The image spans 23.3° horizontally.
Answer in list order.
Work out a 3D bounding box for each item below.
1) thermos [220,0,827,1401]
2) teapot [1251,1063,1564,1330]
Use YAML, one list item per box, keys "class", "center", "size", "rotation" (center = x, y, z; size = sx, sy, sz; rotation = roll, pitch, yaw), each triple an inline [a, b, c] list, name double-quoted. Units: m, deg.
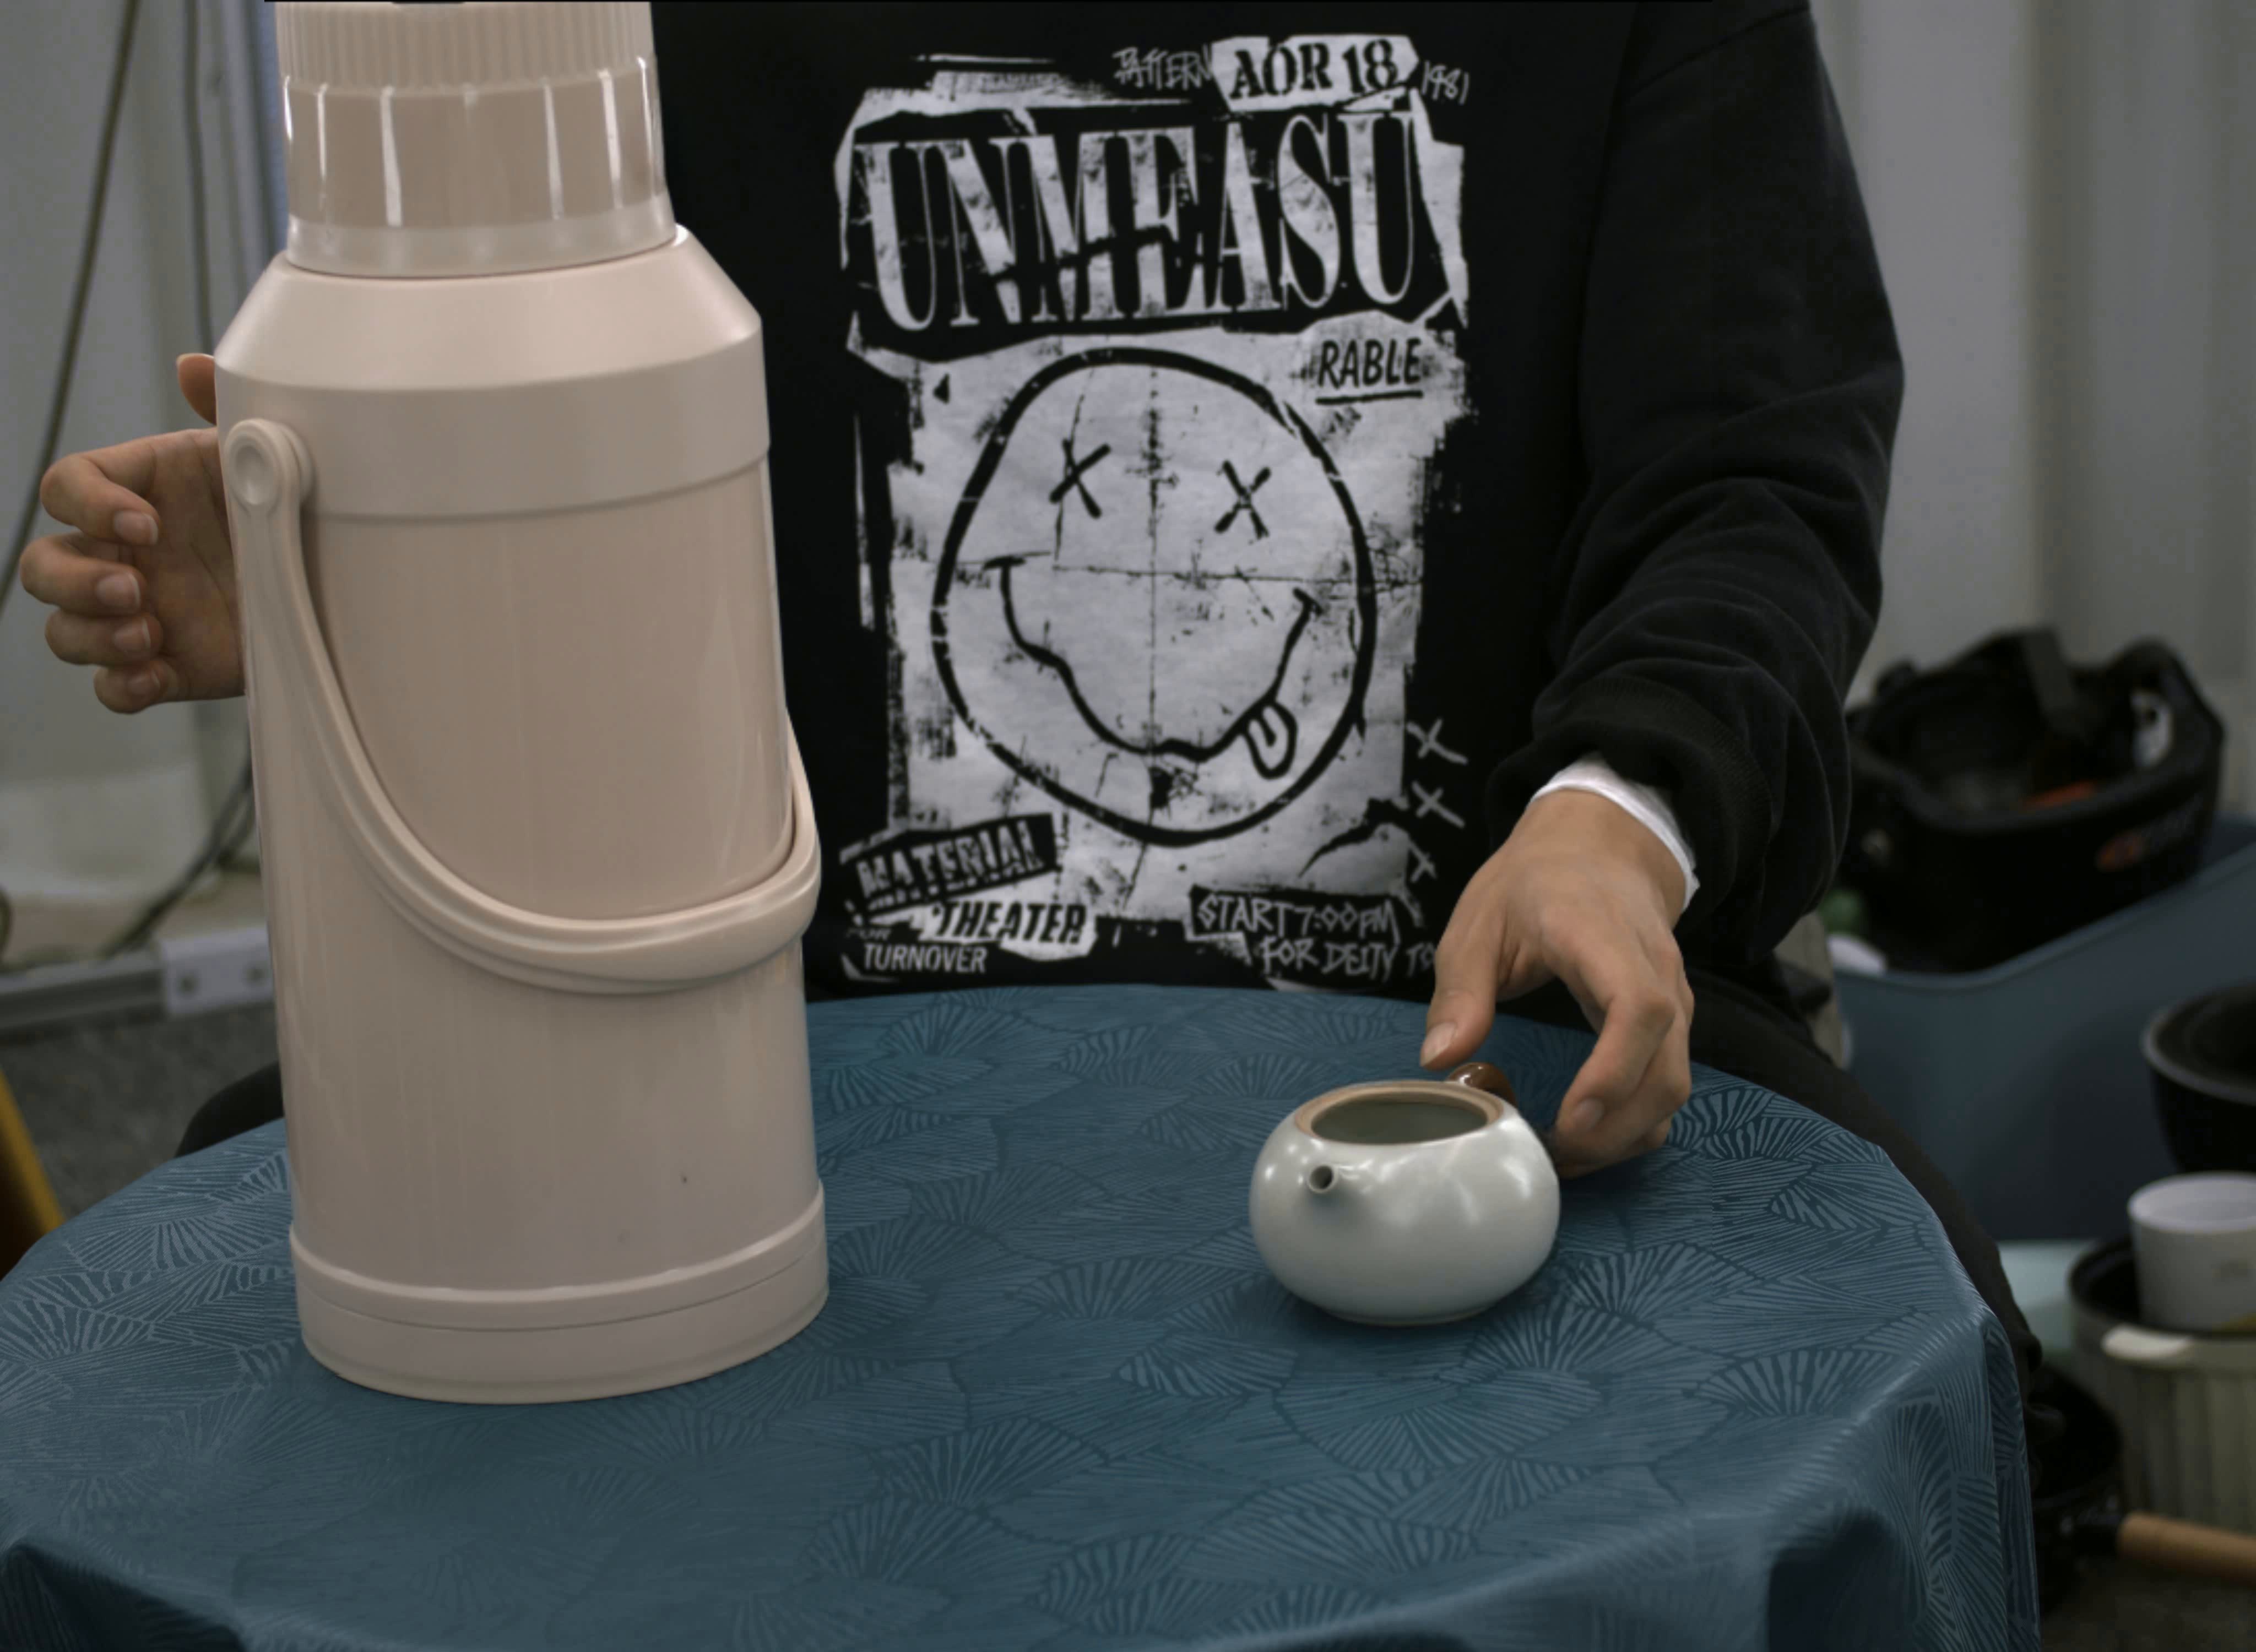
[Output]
- class: "thermos"
  center: [-0.186, -0.049, 1.600]
  size: [0.208, 0.404, 0.175]
  rotation: [11, 20, 42]
- class: "teapot"
  center: [0.086, 0.109, 1.607]
  size: [0.092, 0.059, 0.128]
  rotation: [0, 15, 27]
